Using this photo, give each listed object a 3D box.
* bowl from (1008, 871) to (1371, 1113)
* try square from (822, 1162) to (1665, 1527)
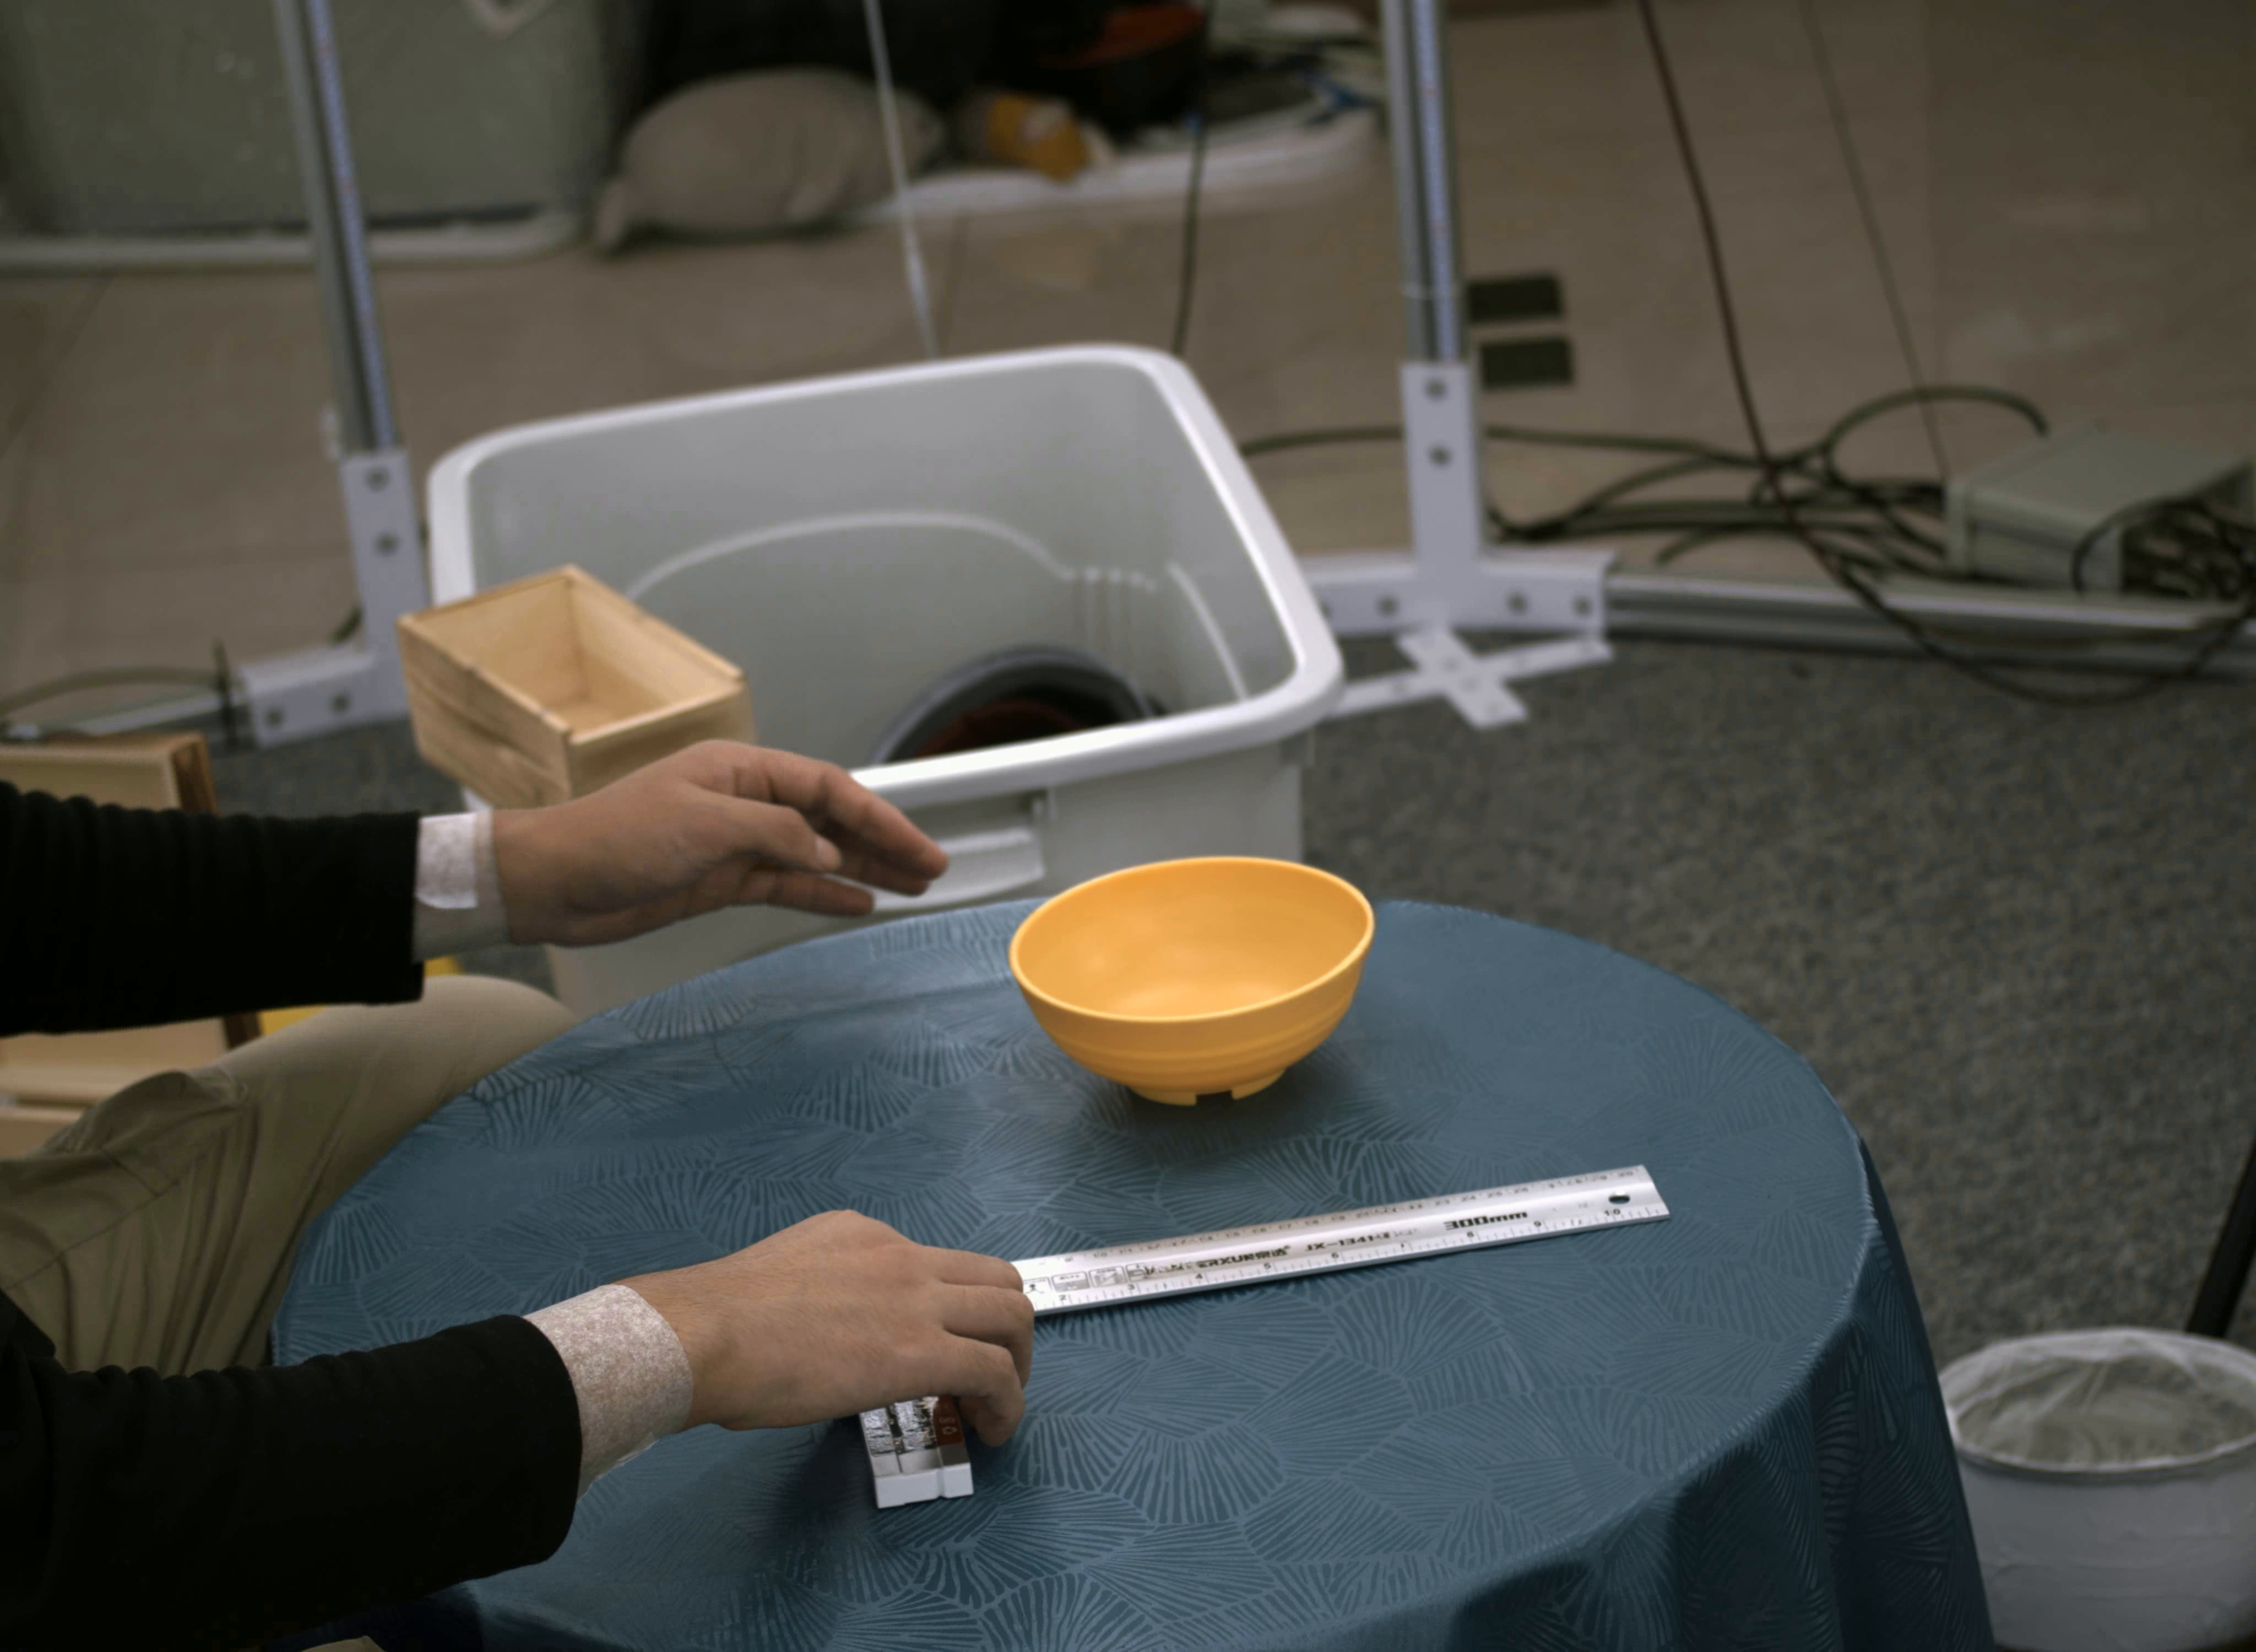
[{"bbox_3d":[0.028,0.072,2.220,0.145,0.061,0.143,-7,23,3],"label":"bowl"},{"bbox_3d":[0.050,0.182,2.042,0.312,0.016,0.150,-8,29,-6],"label":"try square"}]
